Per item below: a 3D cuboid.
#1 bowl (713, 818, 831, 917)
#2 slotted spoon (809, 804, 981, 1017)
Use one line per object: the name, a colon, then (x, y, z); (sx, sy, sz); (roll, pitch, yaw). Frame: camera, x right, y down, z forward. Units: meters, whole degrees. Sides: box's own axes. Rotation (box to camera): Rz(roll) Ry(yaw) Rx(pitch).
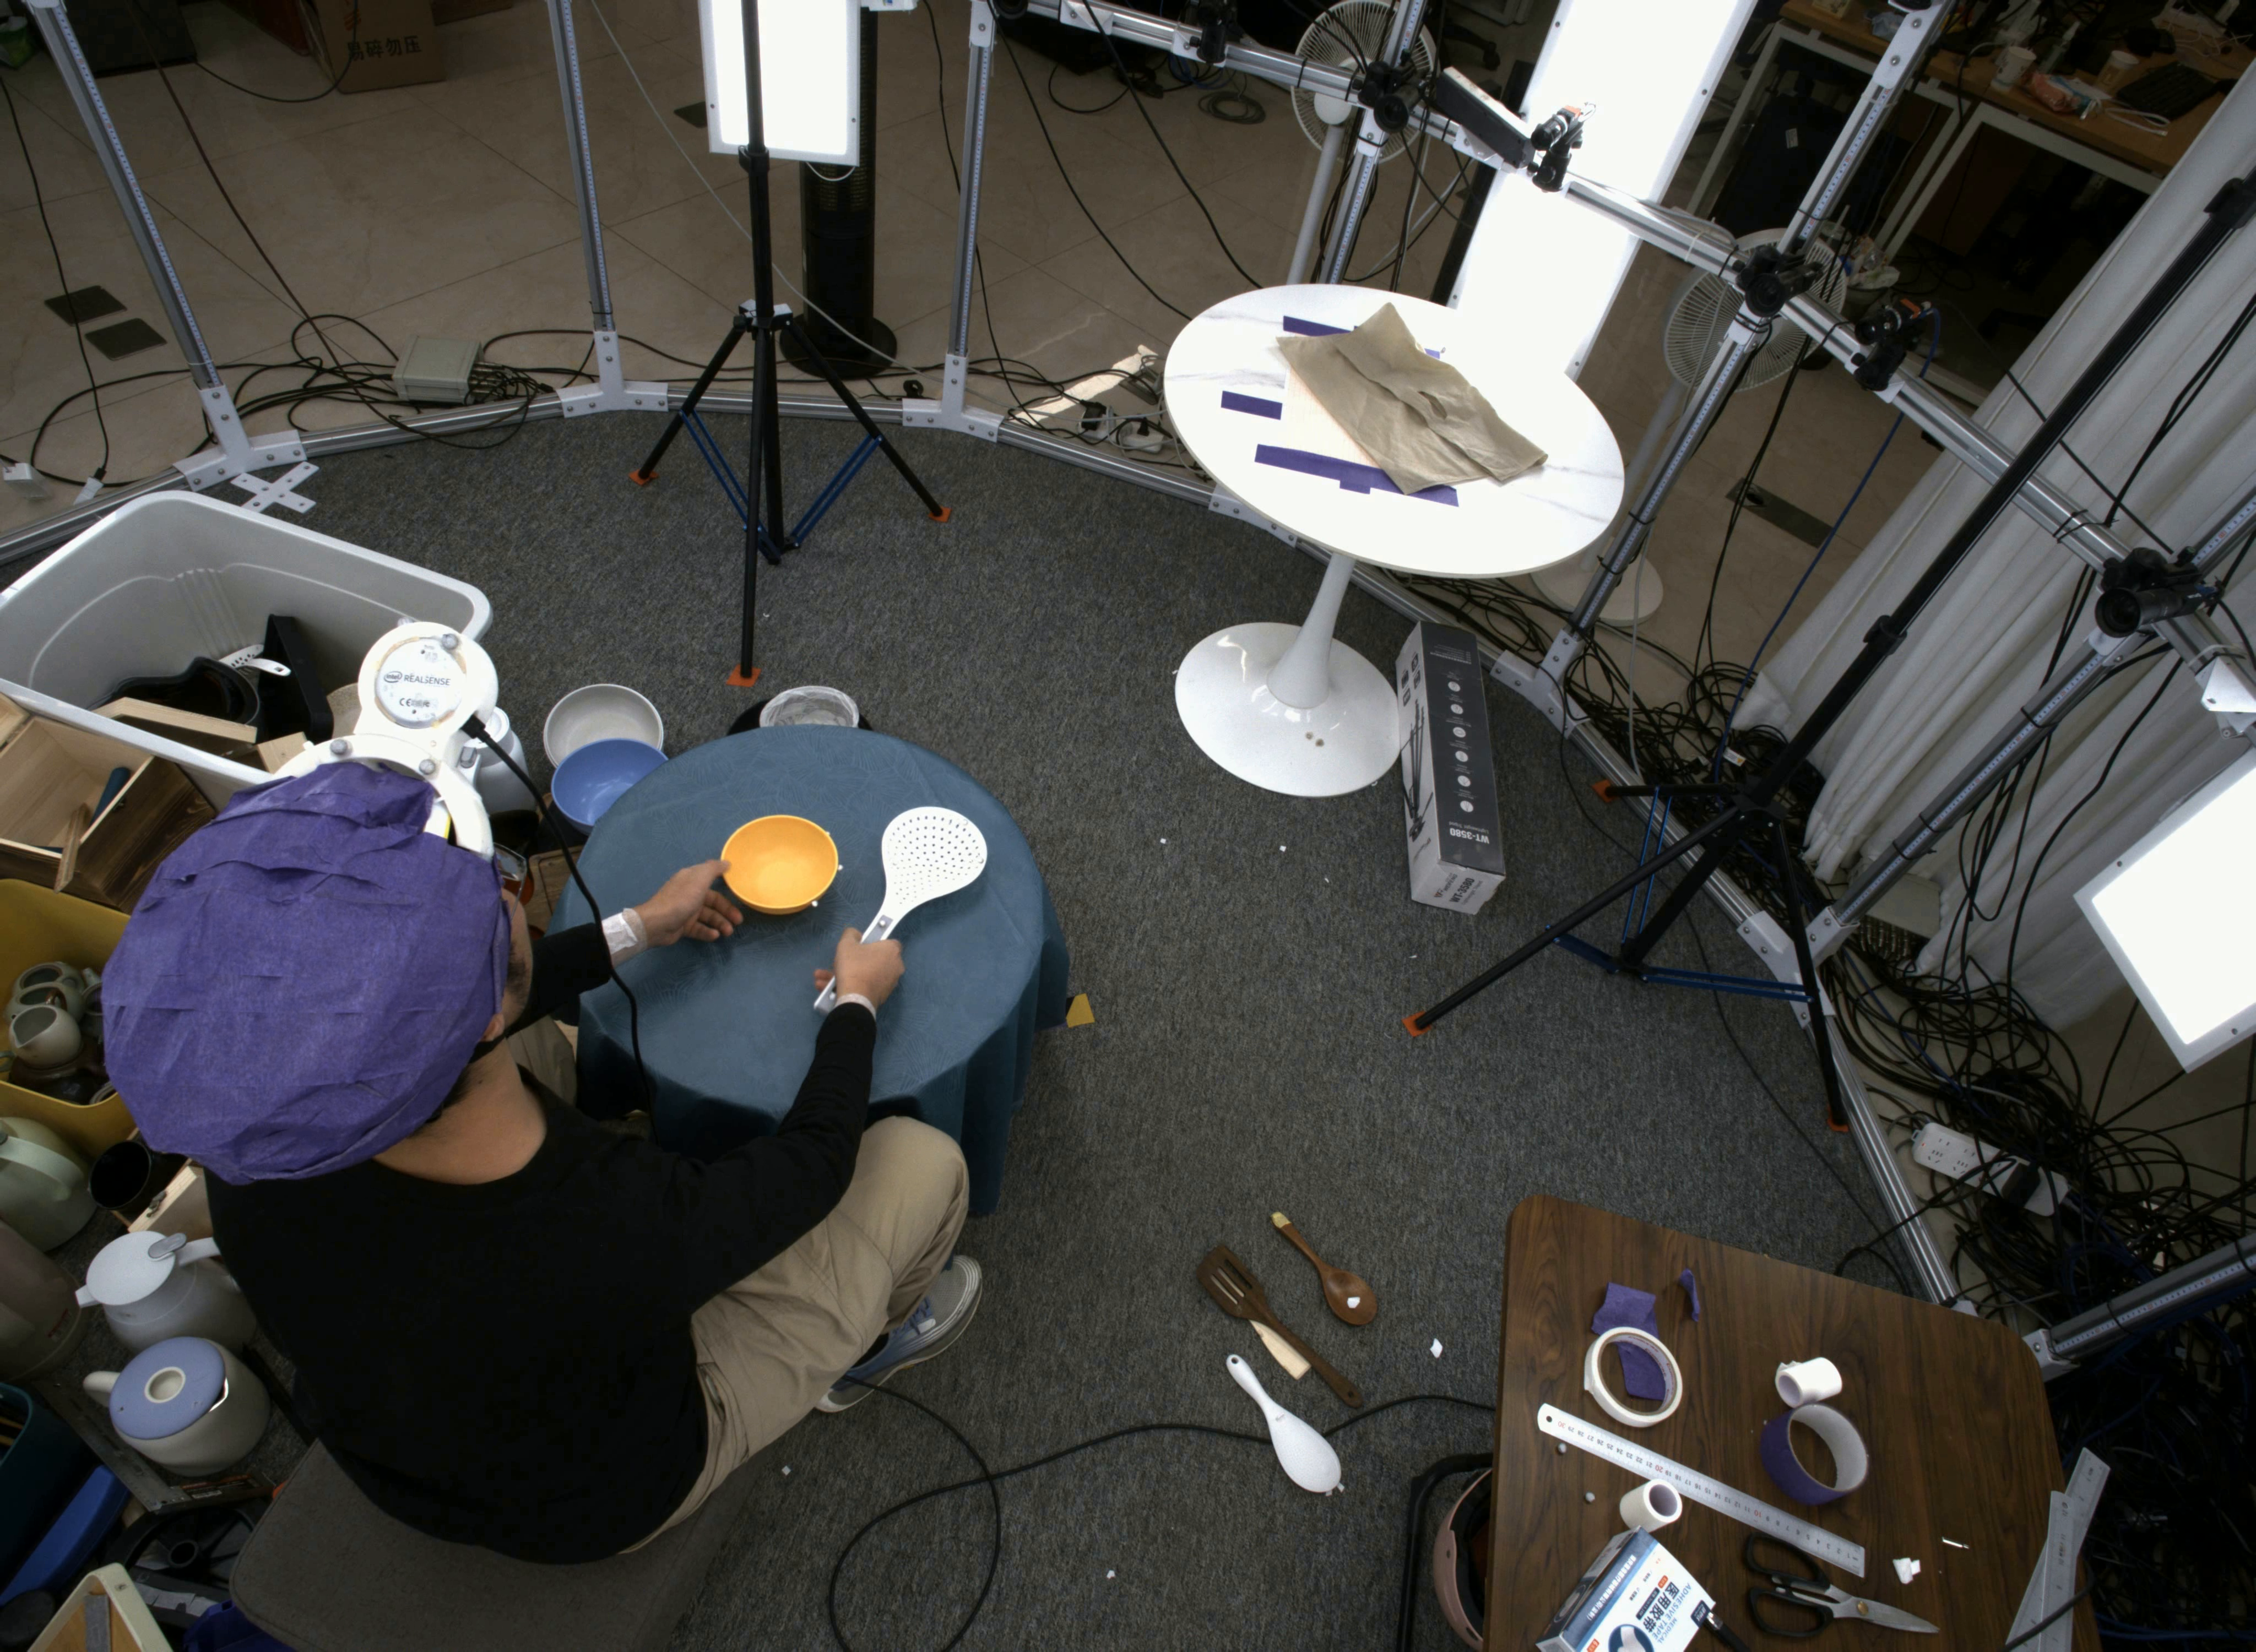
bowl: (-0.445, 0.062, 1.631); (0.145, 0.061, 0.142); (7, 51, -7)
slotted spoon: (-0.299, 0.100, 1.627); (0.135, 0.046, 0.347); (28, 44, 1)
